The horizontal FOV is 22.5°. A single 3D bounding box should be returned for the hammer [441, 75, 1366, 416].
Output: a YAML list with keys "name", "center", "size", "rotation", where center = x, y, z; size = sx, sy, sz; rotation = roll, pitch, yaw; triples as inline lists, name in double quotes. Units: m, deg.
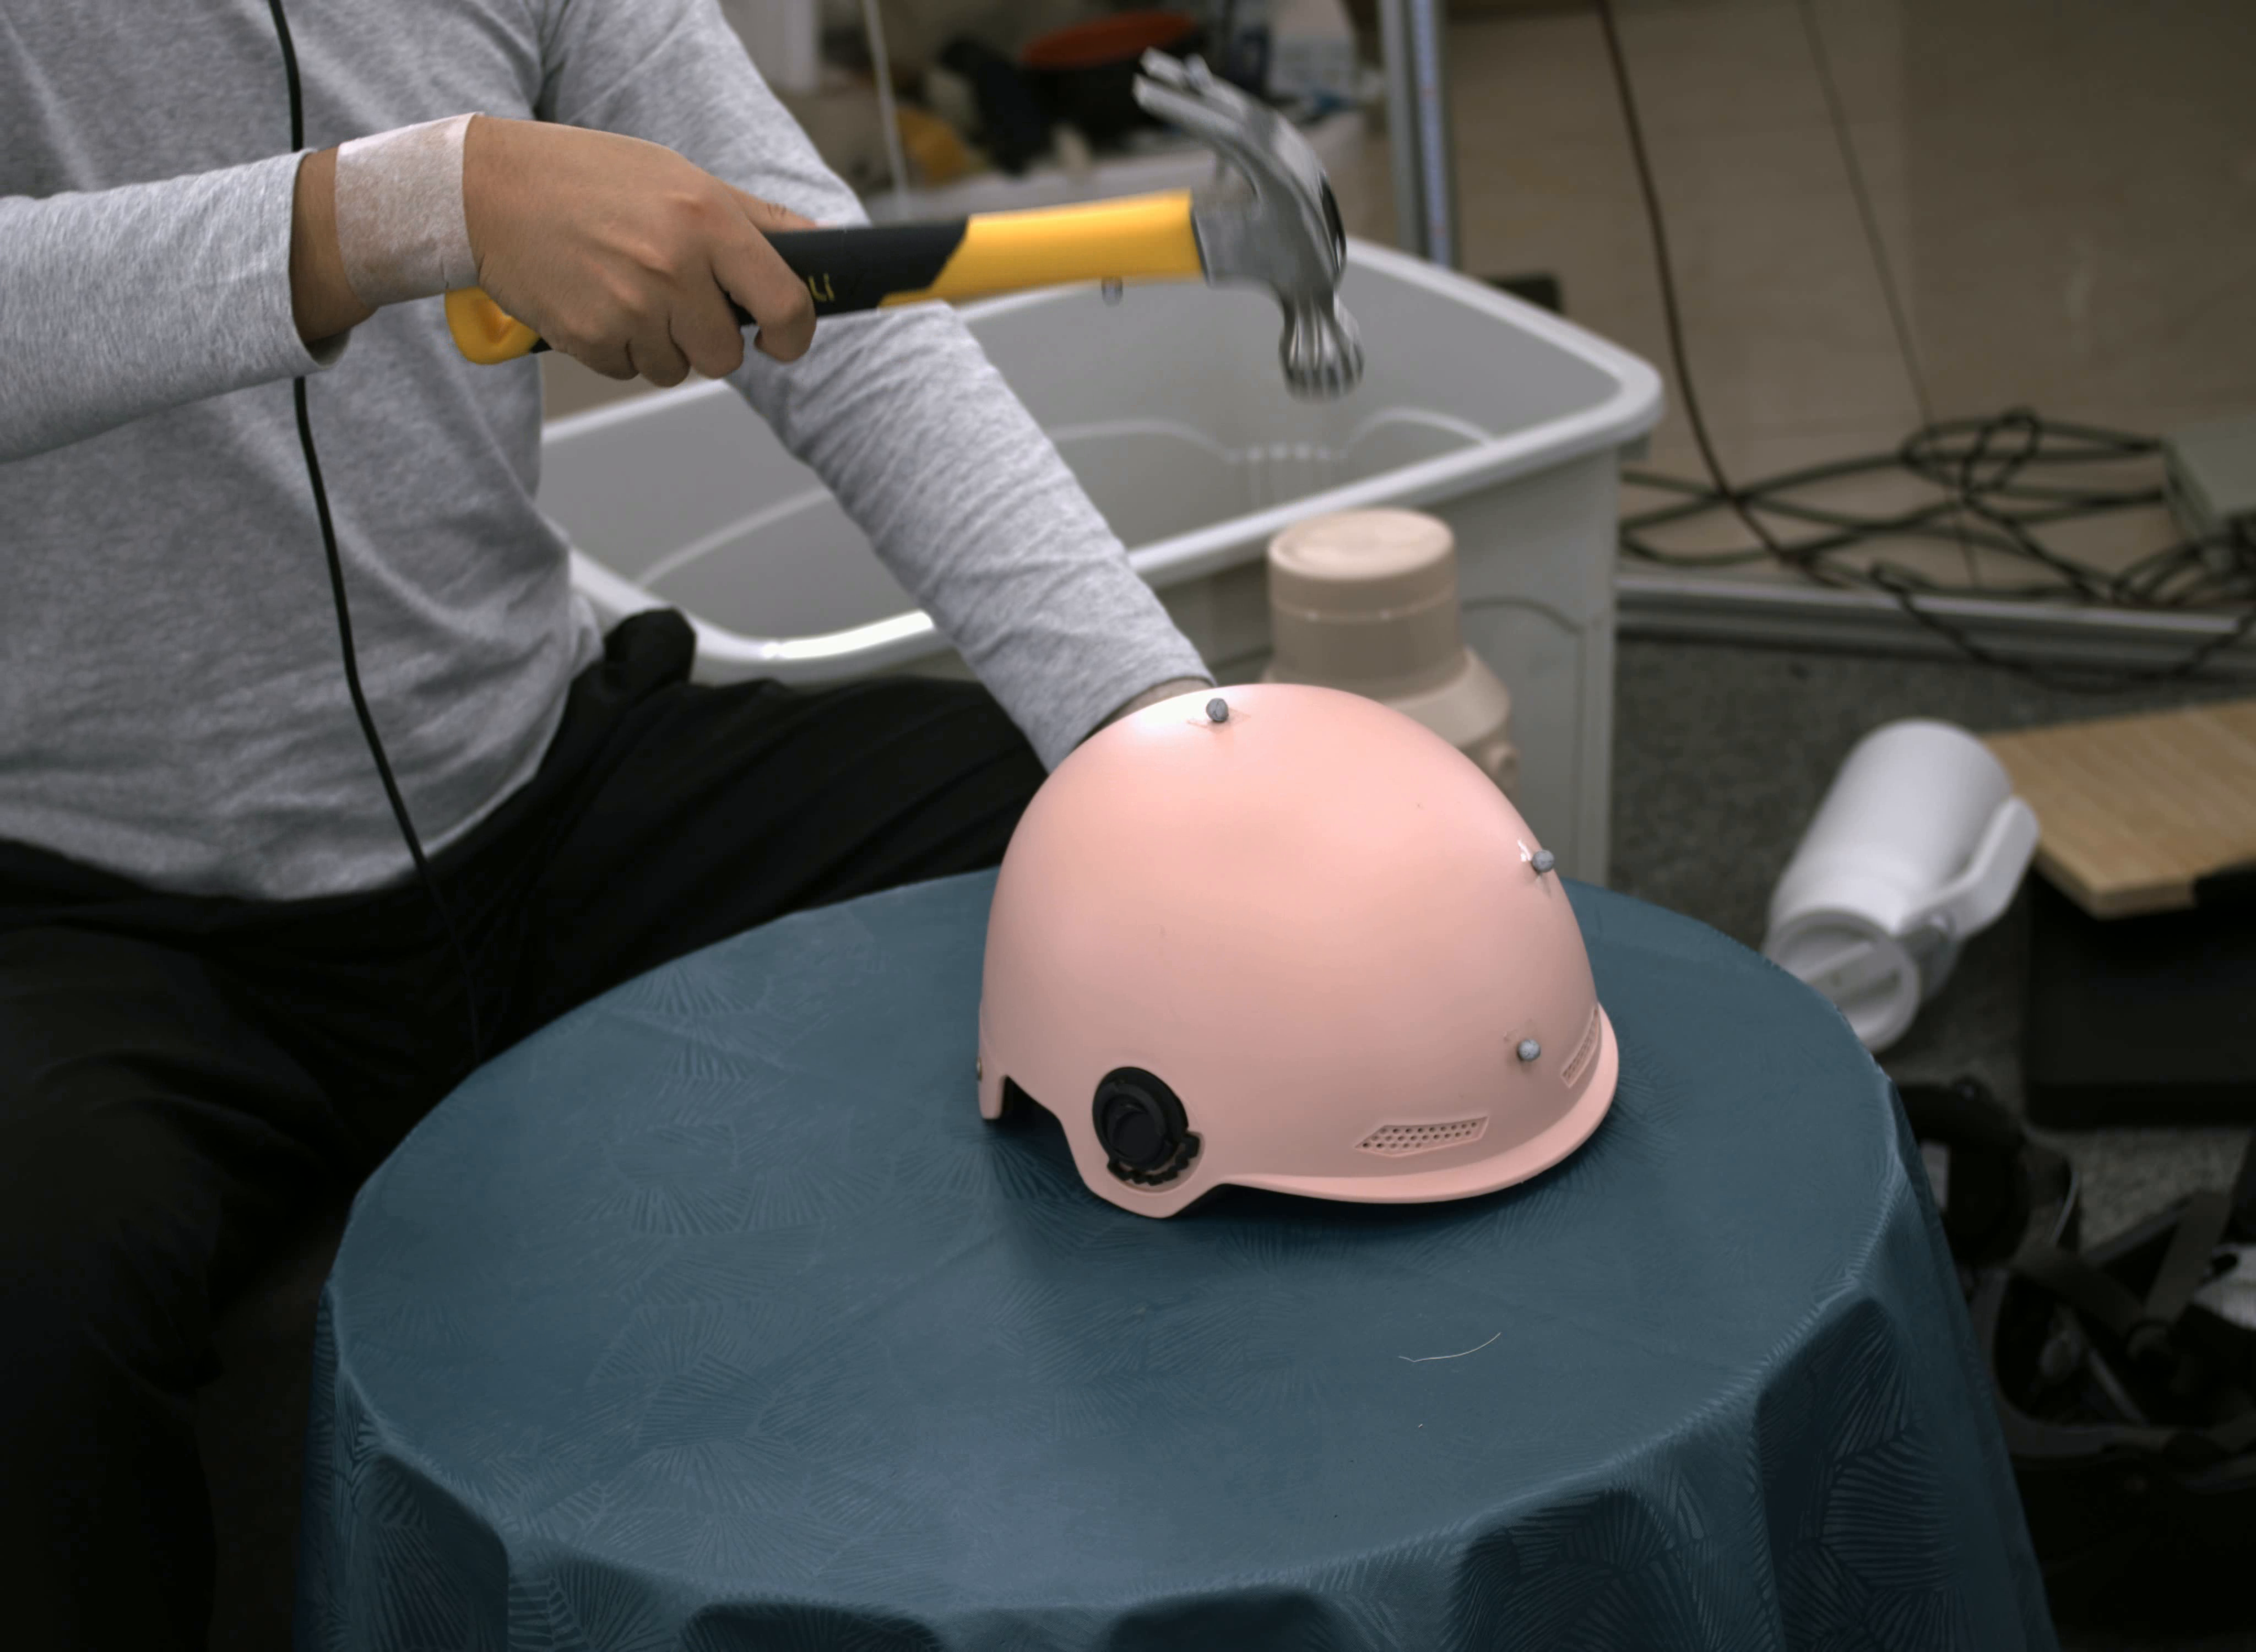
- name: "hammer"
  center: [-0.088, -0.199, 2.064]
  size: [0.338, 0.134, 0.031]
  rotation: [-4, 37, 13]

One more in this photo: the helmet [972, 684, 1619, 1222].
- name: "helmet"
  center: [0.062, 0.035, 2.176]
  size: [0.232, 0.161, 0.263]
  rotation: [-27, 35, -37]
